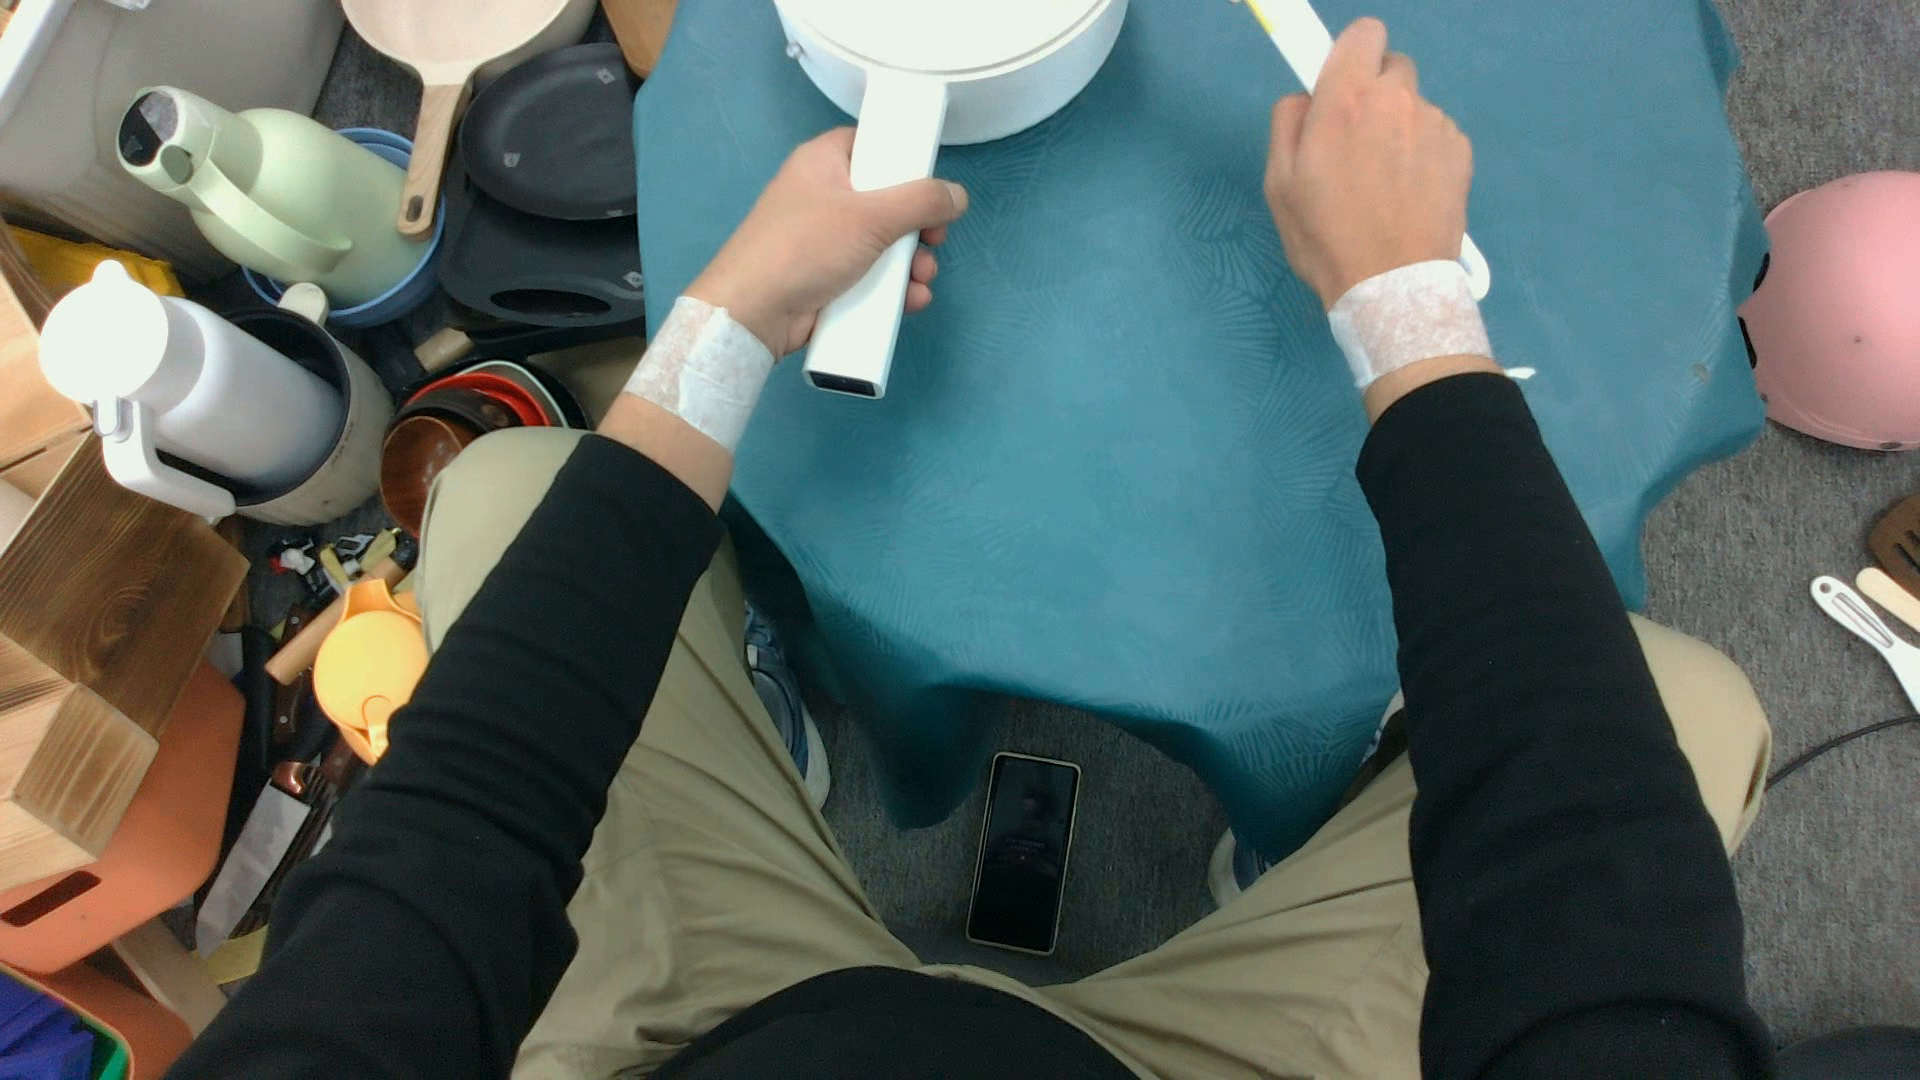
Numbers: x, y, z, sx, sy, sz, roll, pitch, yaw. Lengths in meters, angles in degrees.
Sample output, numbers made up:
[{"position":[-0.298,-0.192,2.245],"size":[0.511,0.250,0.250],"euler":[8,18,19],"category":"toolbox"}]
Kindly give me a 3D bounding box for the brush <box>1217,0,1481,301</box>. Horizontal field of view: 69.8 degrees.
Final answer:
[{"position":[0.159,-0.217,0.658],"size":[0.069,0.056,0.266],"euler":[-47,109,-22],"category":"brush"}]

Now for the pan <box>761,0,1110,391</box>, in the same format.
[{"position":[-0.028,-0.242,0.721],"size":[0.201,0.102,0.355],"euler":[11,80,3],"category":"pan"}]
